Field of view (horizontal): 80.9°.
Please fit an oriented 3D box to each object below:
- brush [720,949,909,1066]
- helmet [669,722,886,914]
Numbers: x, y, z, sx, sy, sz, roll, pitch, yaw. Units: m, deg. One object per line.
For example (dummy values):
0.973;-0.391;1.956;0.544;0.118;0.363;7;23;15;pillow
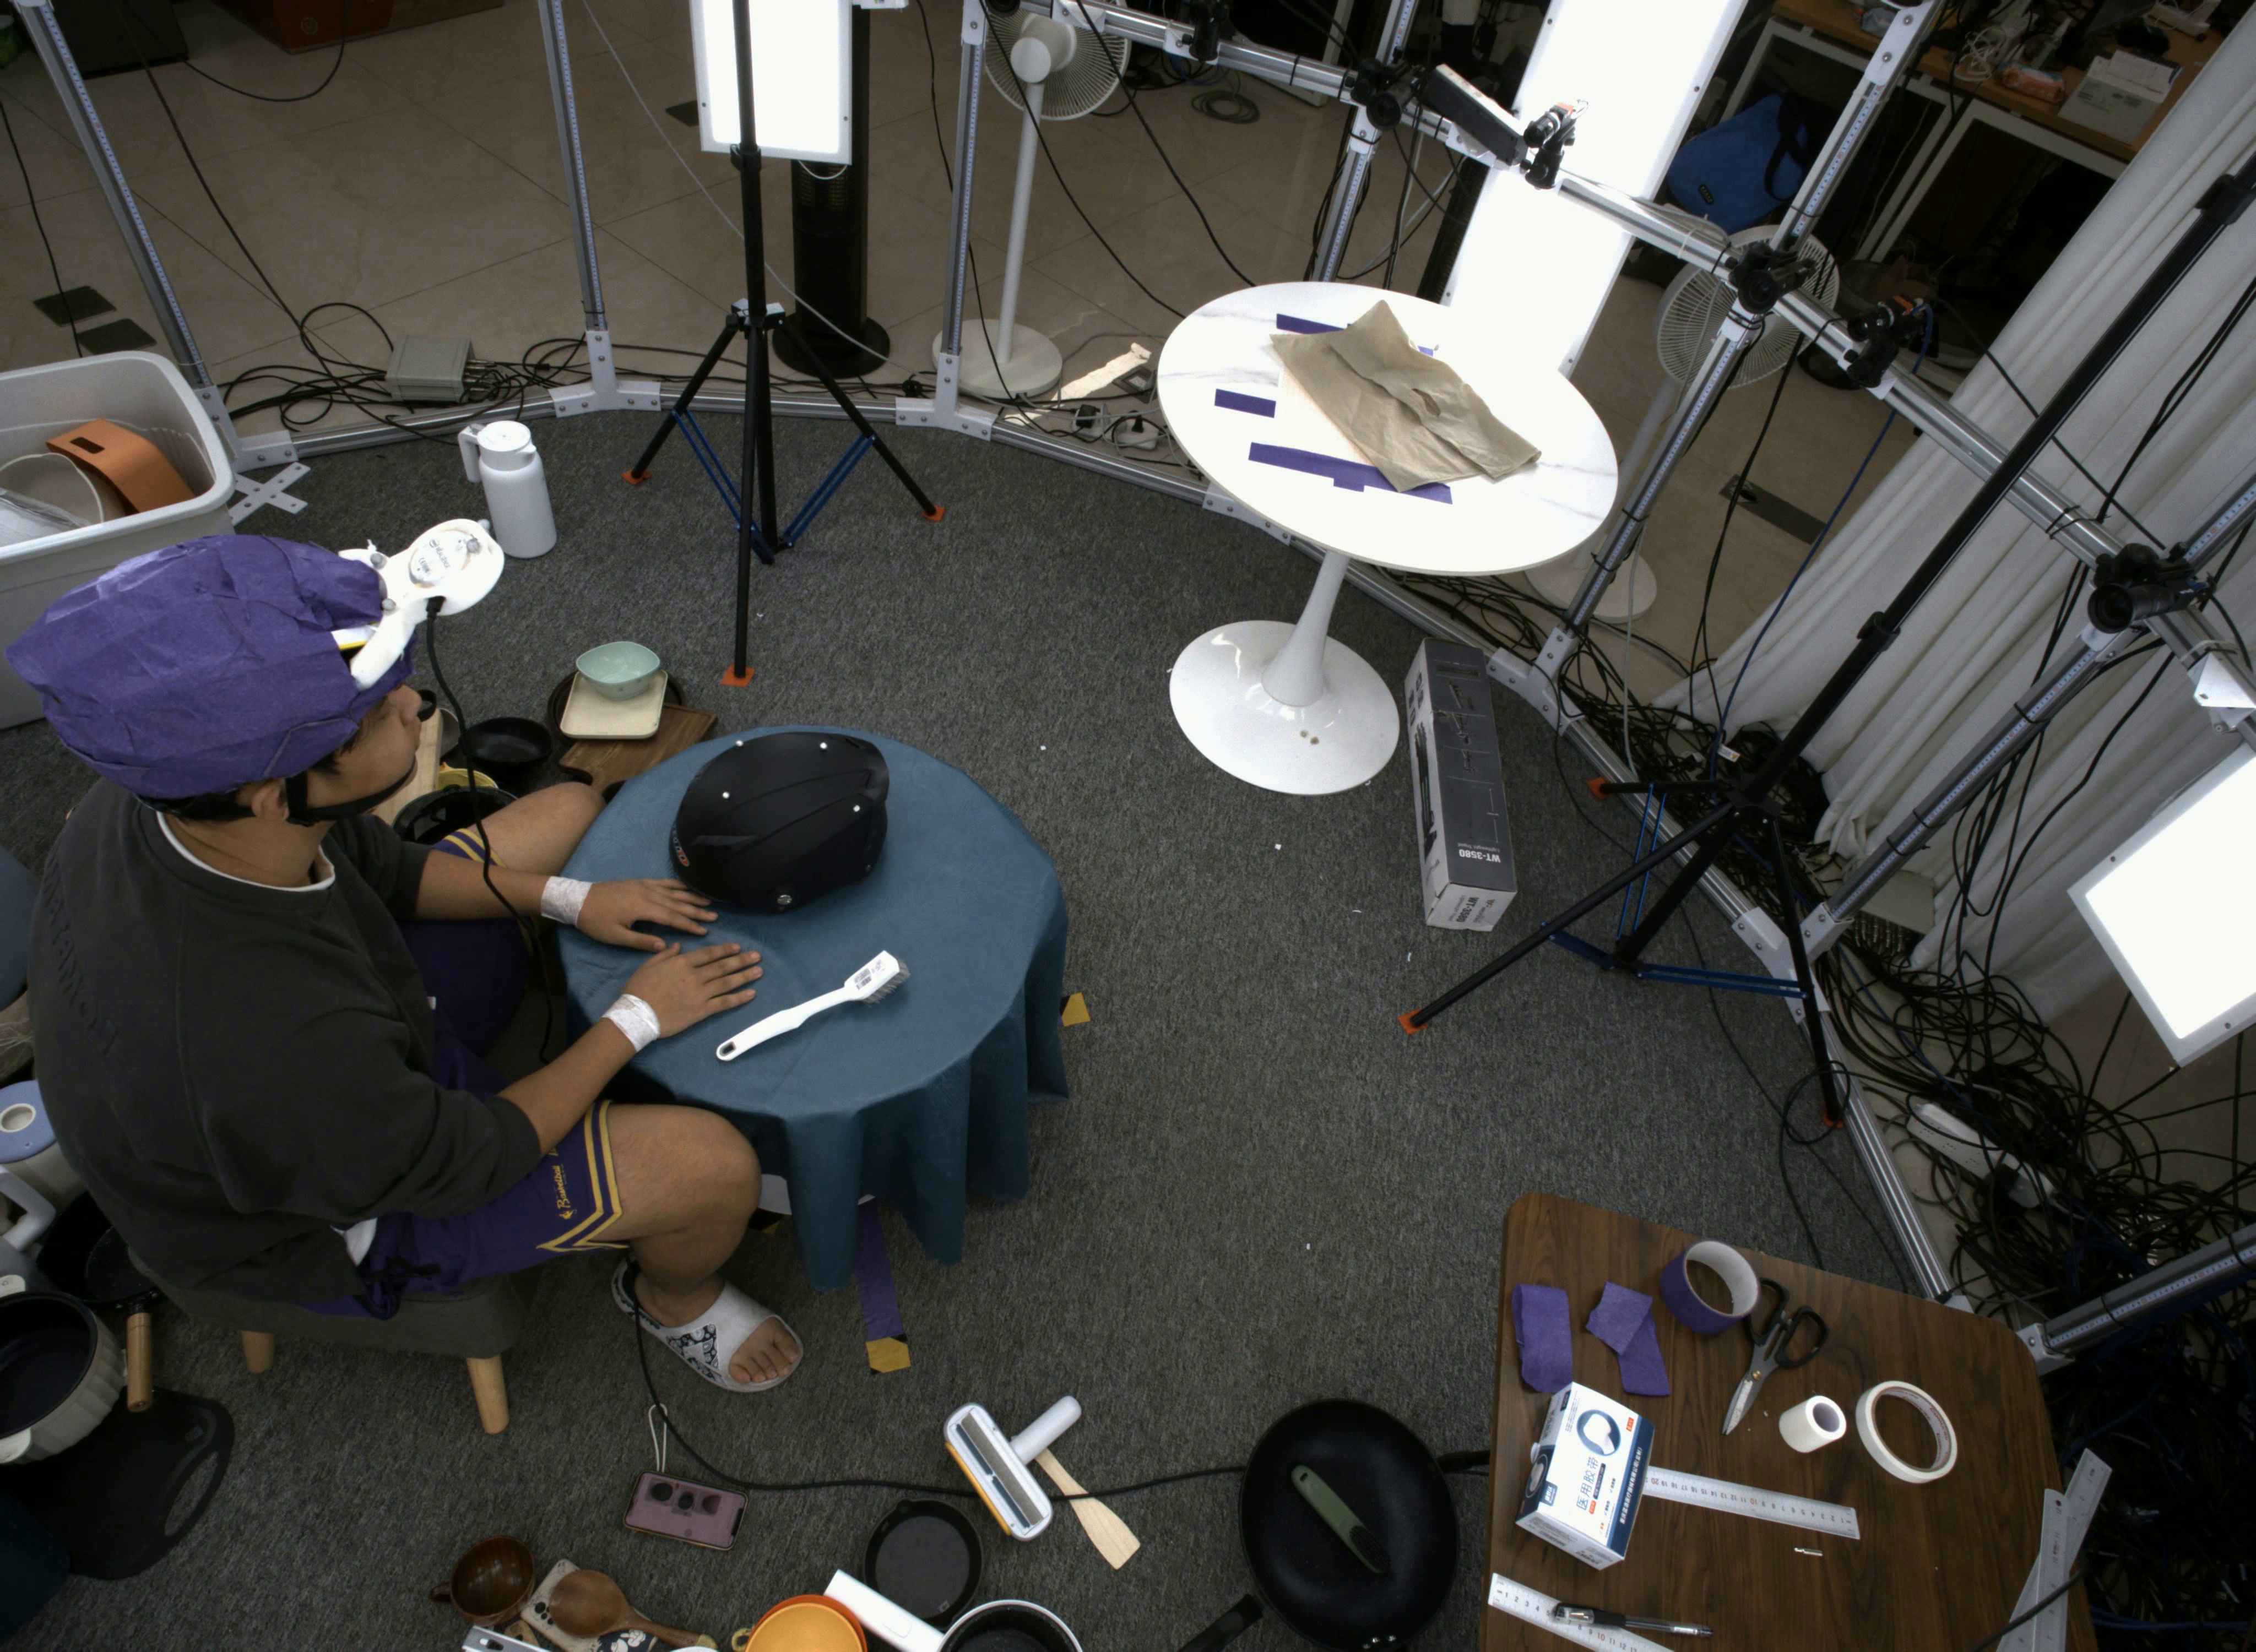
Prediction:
-0.375;0.224;1.560;0.243;0.052;0.033;-31;57;-17;brush
-0.443;-0.028;1.641;0.278;0.176;0.240;-13;57;-24;helmet
